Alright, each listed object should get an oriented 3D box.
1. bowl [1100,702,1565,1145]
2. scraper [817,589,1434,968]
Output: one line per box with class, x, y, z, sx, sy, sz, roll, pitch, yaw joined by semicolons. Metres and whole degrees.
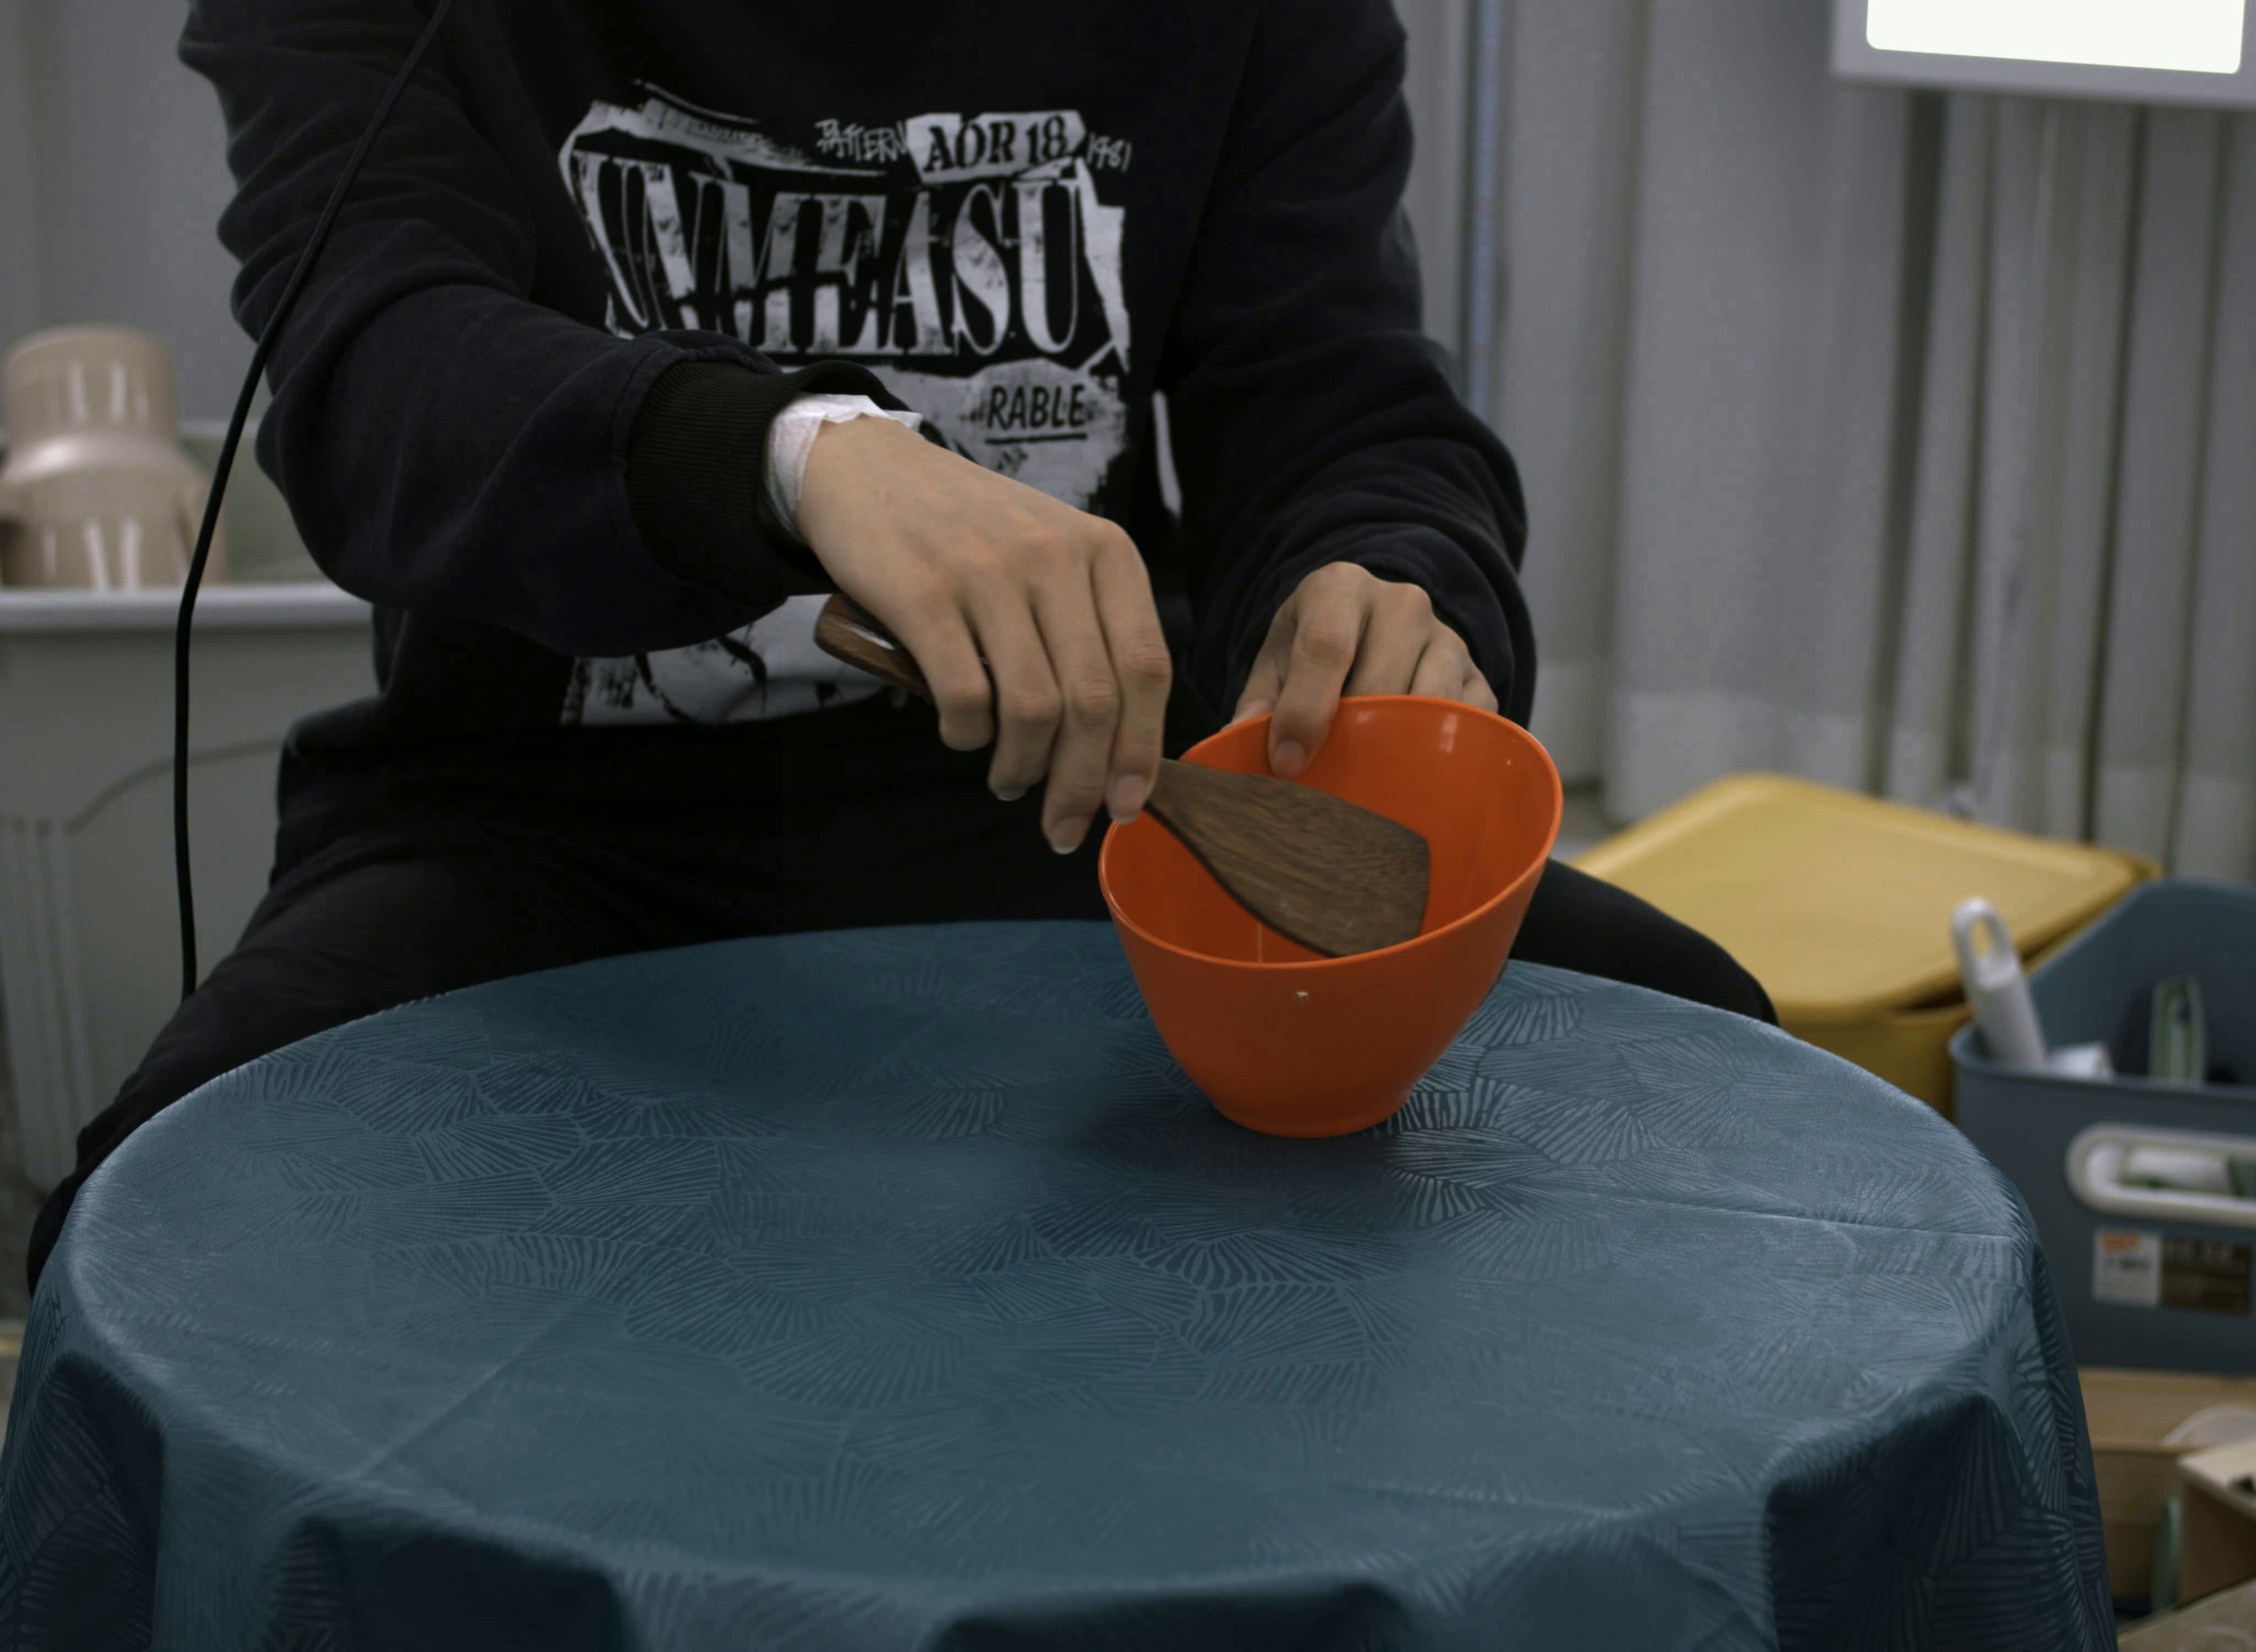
bowl;0.066;0.038;1.682;0.147;0.106;0.147;-1;30;1
scraper;-0.001;-0.020;1.626;0.212;0.011;0.075;27;37;-9
